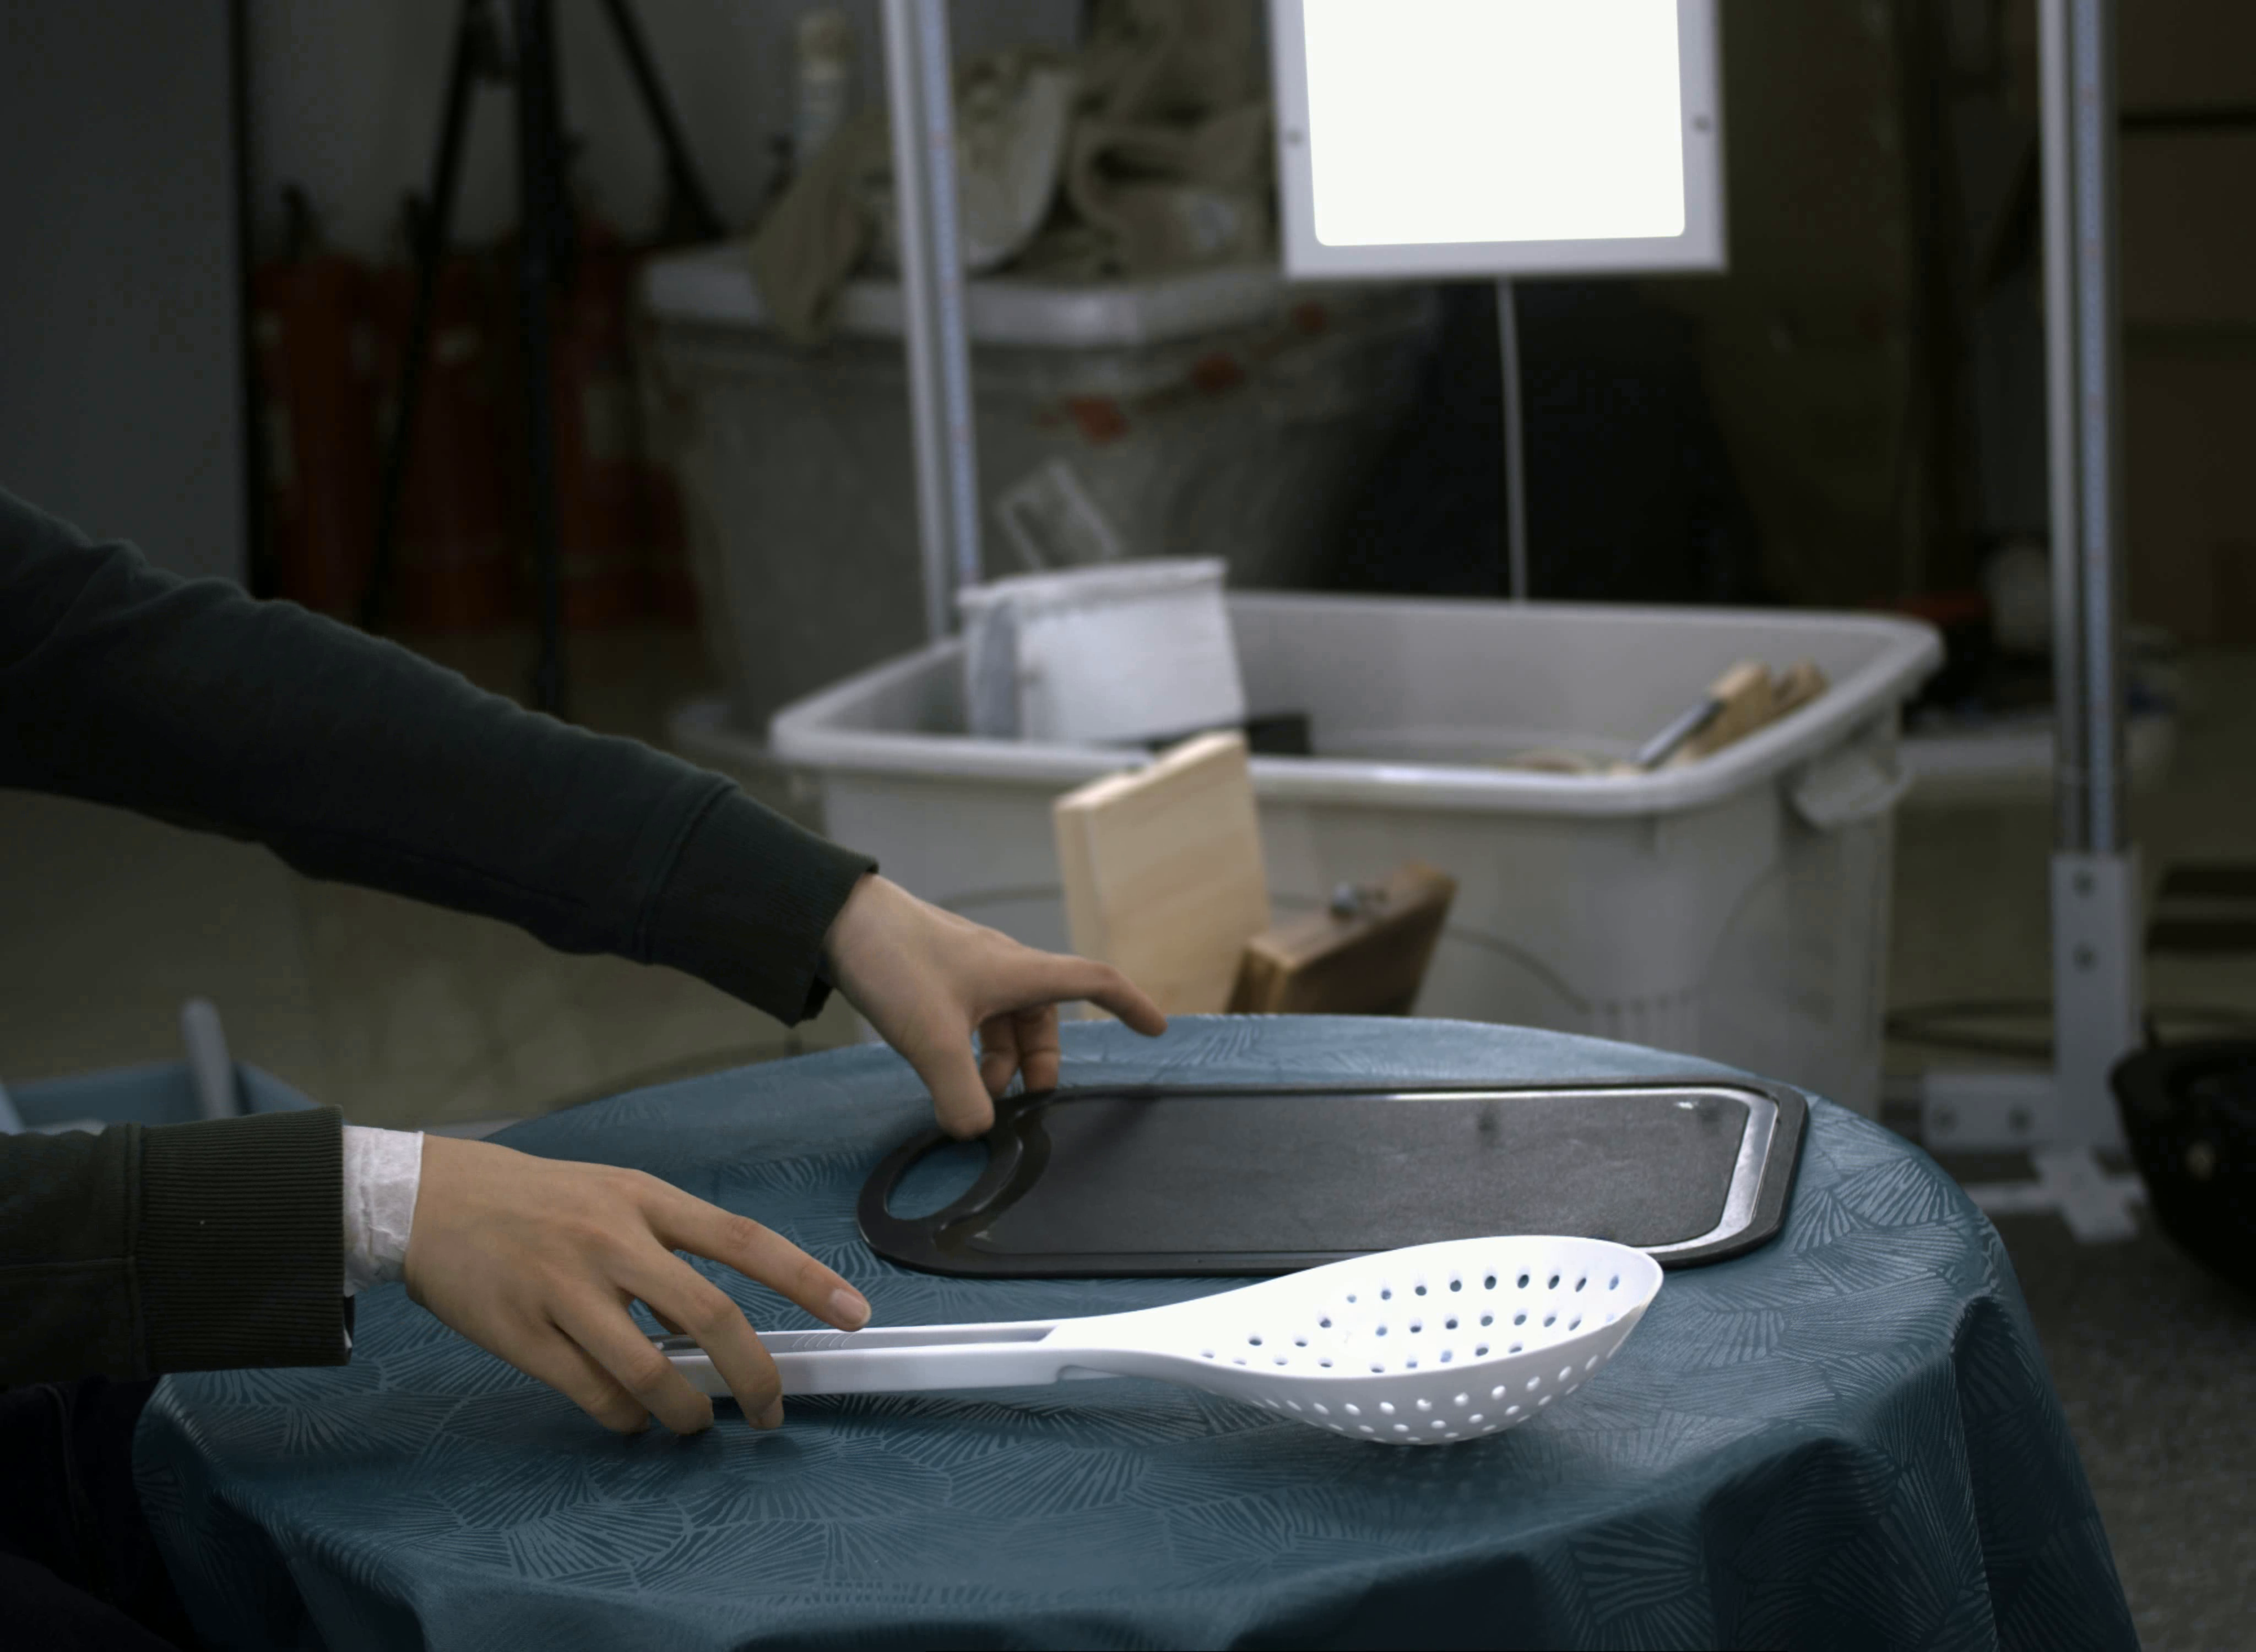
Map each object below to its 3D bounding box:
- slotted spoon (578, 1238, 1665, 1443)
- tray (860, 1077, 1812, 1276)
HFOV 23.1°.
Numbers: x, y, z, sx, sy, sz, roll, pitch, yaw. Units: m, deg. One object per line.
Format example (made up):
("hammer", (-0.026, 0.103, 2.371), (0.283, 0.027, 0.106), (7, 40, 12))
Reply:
("slotted spoon", (-0.007, 0.158, 1.676), (0.354, 0.046, 0.133), (0, 12, 22))
("tray", (0.069, 0.118, 1.893), (0.328, 0.010, 0.208), (-2, 14, 14))
